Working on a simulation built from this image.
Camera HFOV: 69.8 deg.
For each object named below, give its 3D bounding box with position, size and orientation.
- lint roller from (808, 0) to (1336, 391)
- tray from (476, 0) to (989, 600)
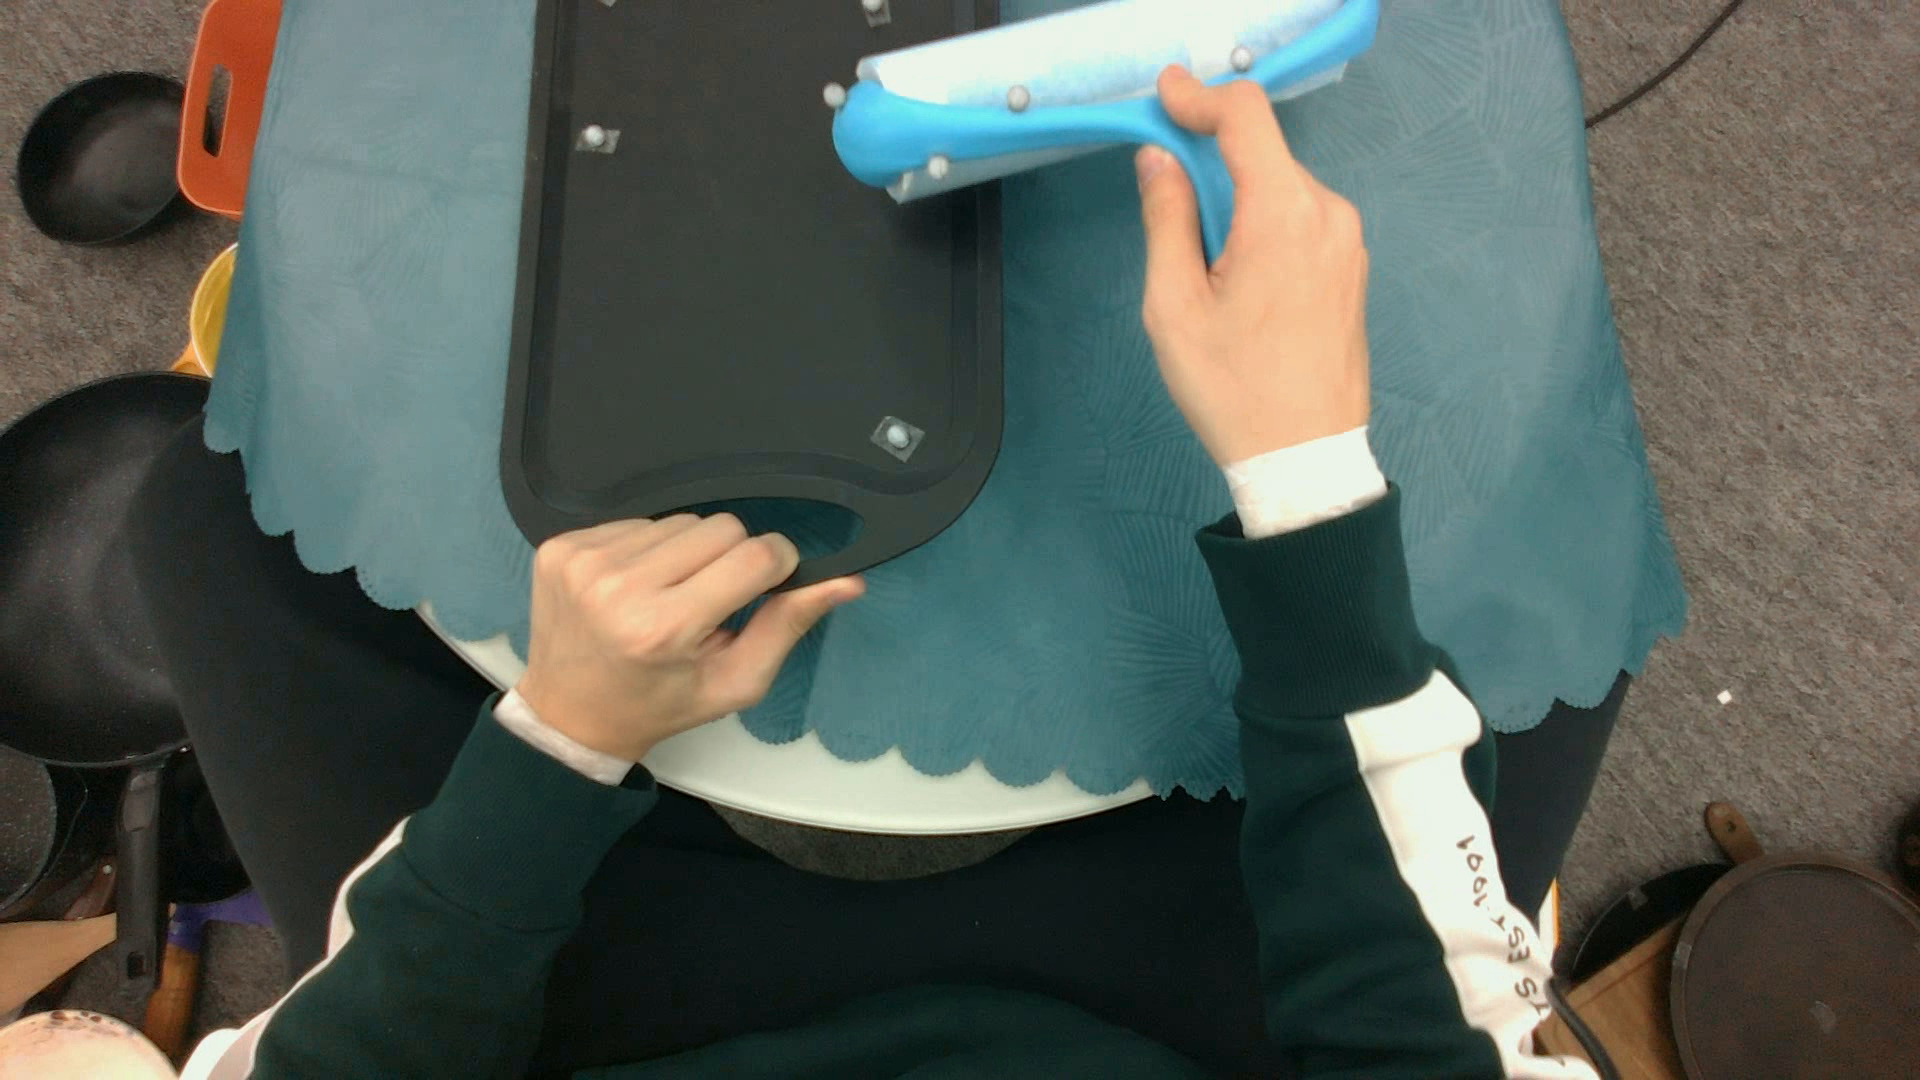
[{"bbox_3d":[0.074,-0.144,0.533,0.229,0.067,0.180,-21,61,-17],"label":"lint roller"},{"bbox_3d":[-0.094,-0.133,0.576,0.211,0.010,0.326,-4,72,7],"label":"tray"}]
